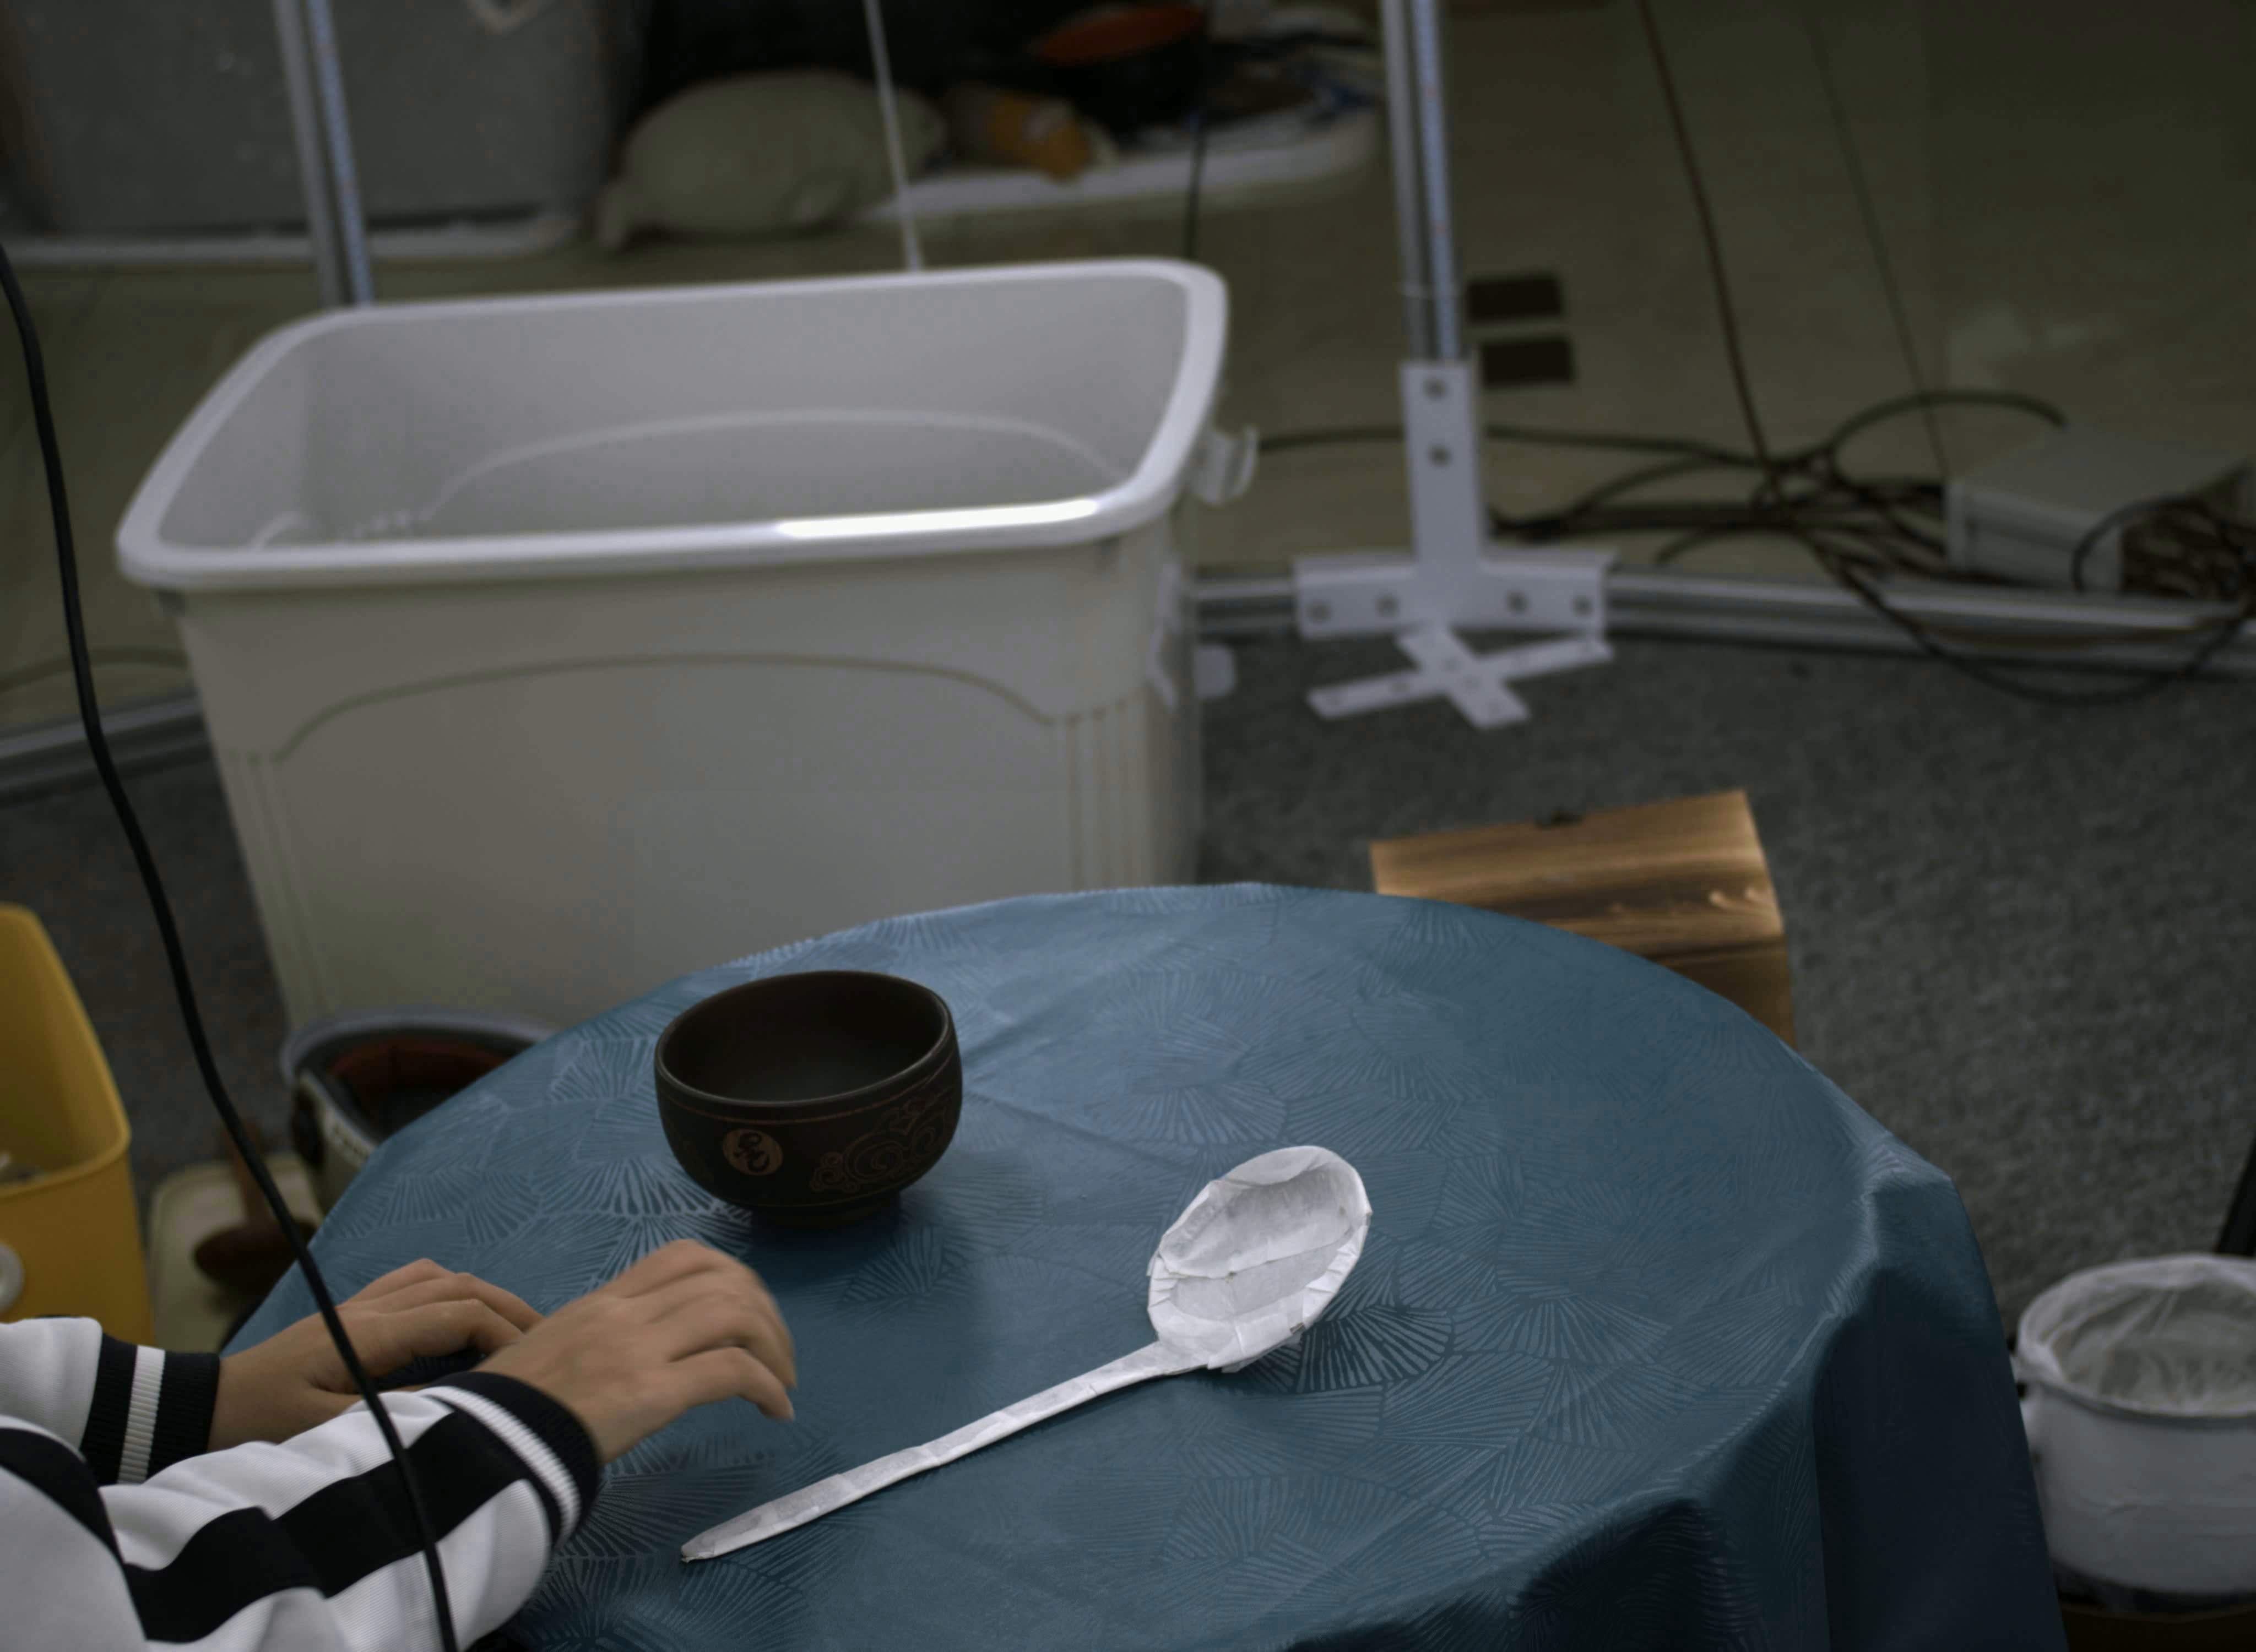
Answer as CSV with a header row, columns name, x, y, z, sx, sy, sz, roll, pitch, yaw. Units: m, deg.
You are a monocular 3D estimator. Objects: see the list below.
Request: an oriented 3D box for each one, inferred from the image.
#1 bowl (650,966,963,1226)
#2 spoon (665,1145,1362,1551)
name,x,y,z,sx,sy,sz,roll,pitch,yaw
bowl,-0.120,0.109,2.155,0.118,0.071,0.116,-6,25,3
spoon,-0.043,0.182,1.998,0.276,0.060,0.099,-18,24,-23
